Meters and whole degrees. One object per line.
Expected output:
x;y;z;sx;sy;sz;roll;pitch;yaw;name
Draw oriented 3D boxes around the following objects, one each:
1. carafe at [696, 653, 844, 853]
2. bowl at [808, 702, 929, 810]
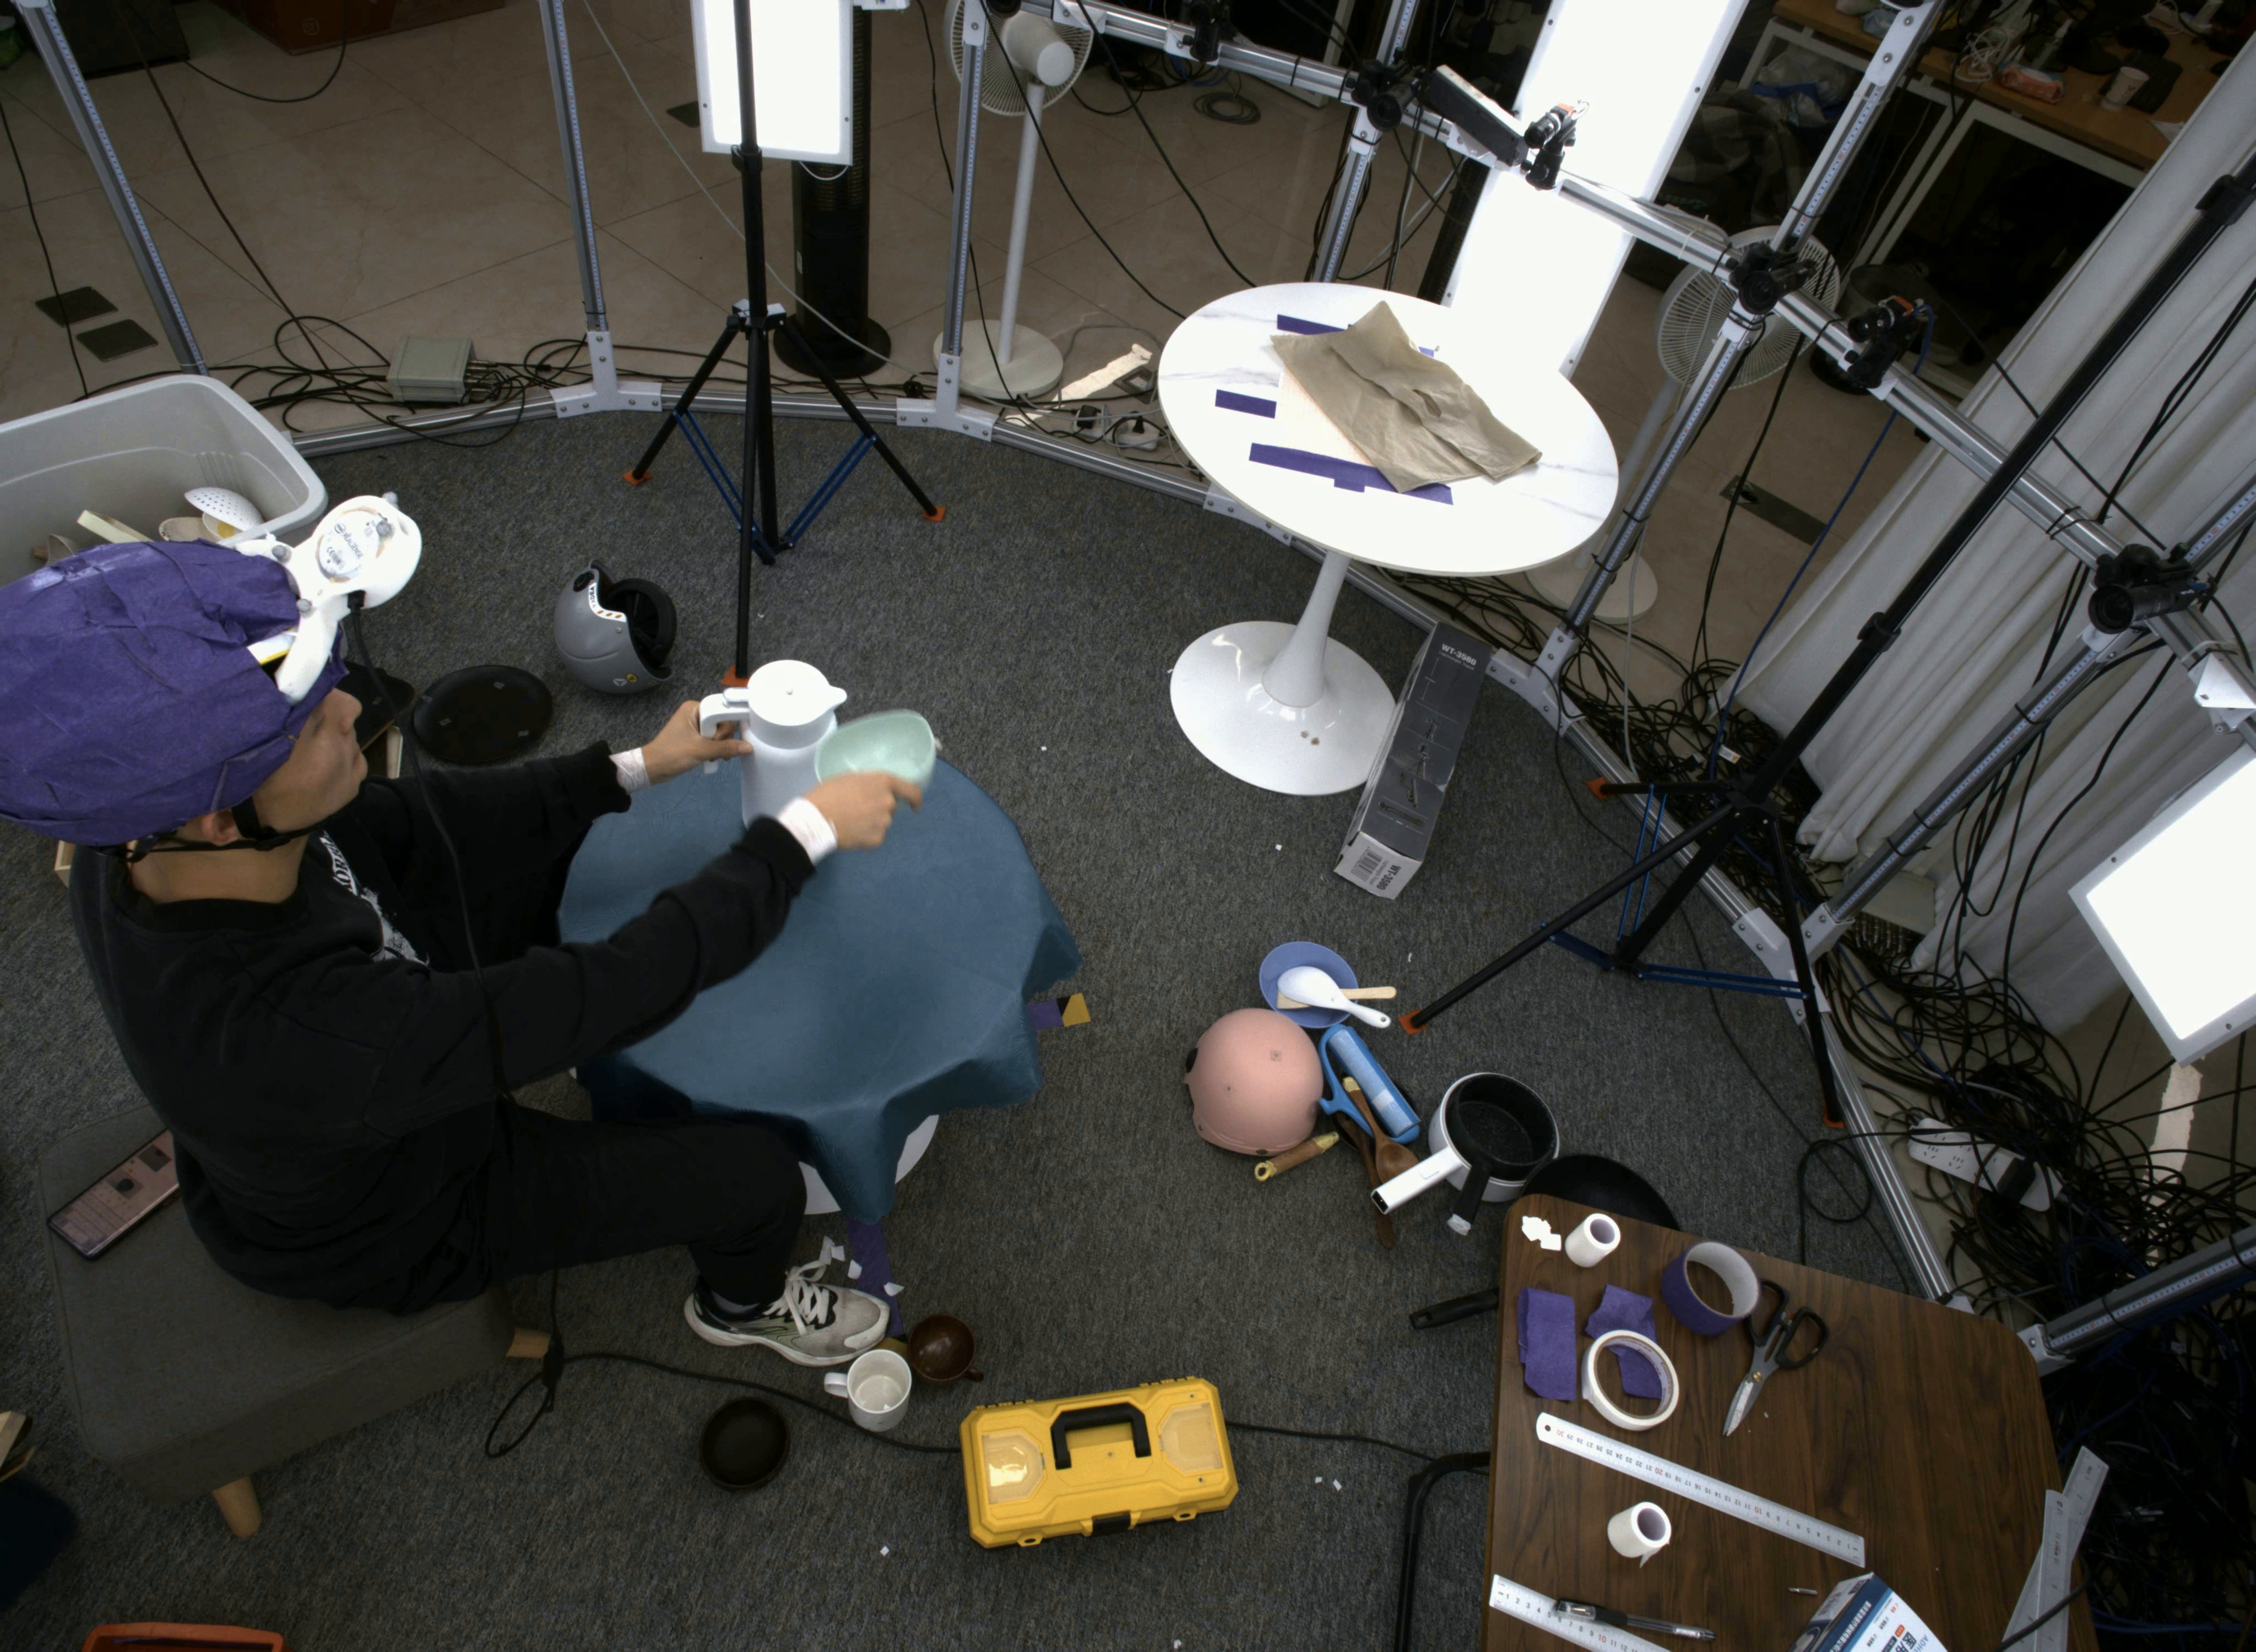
-0.442;-0.085;1.603;0.173;0.273;0.121;-6;60;-19;carafe
-0.287;-0.072;1.474;0.149;0.061;0.148;-6;43;7;bowl
